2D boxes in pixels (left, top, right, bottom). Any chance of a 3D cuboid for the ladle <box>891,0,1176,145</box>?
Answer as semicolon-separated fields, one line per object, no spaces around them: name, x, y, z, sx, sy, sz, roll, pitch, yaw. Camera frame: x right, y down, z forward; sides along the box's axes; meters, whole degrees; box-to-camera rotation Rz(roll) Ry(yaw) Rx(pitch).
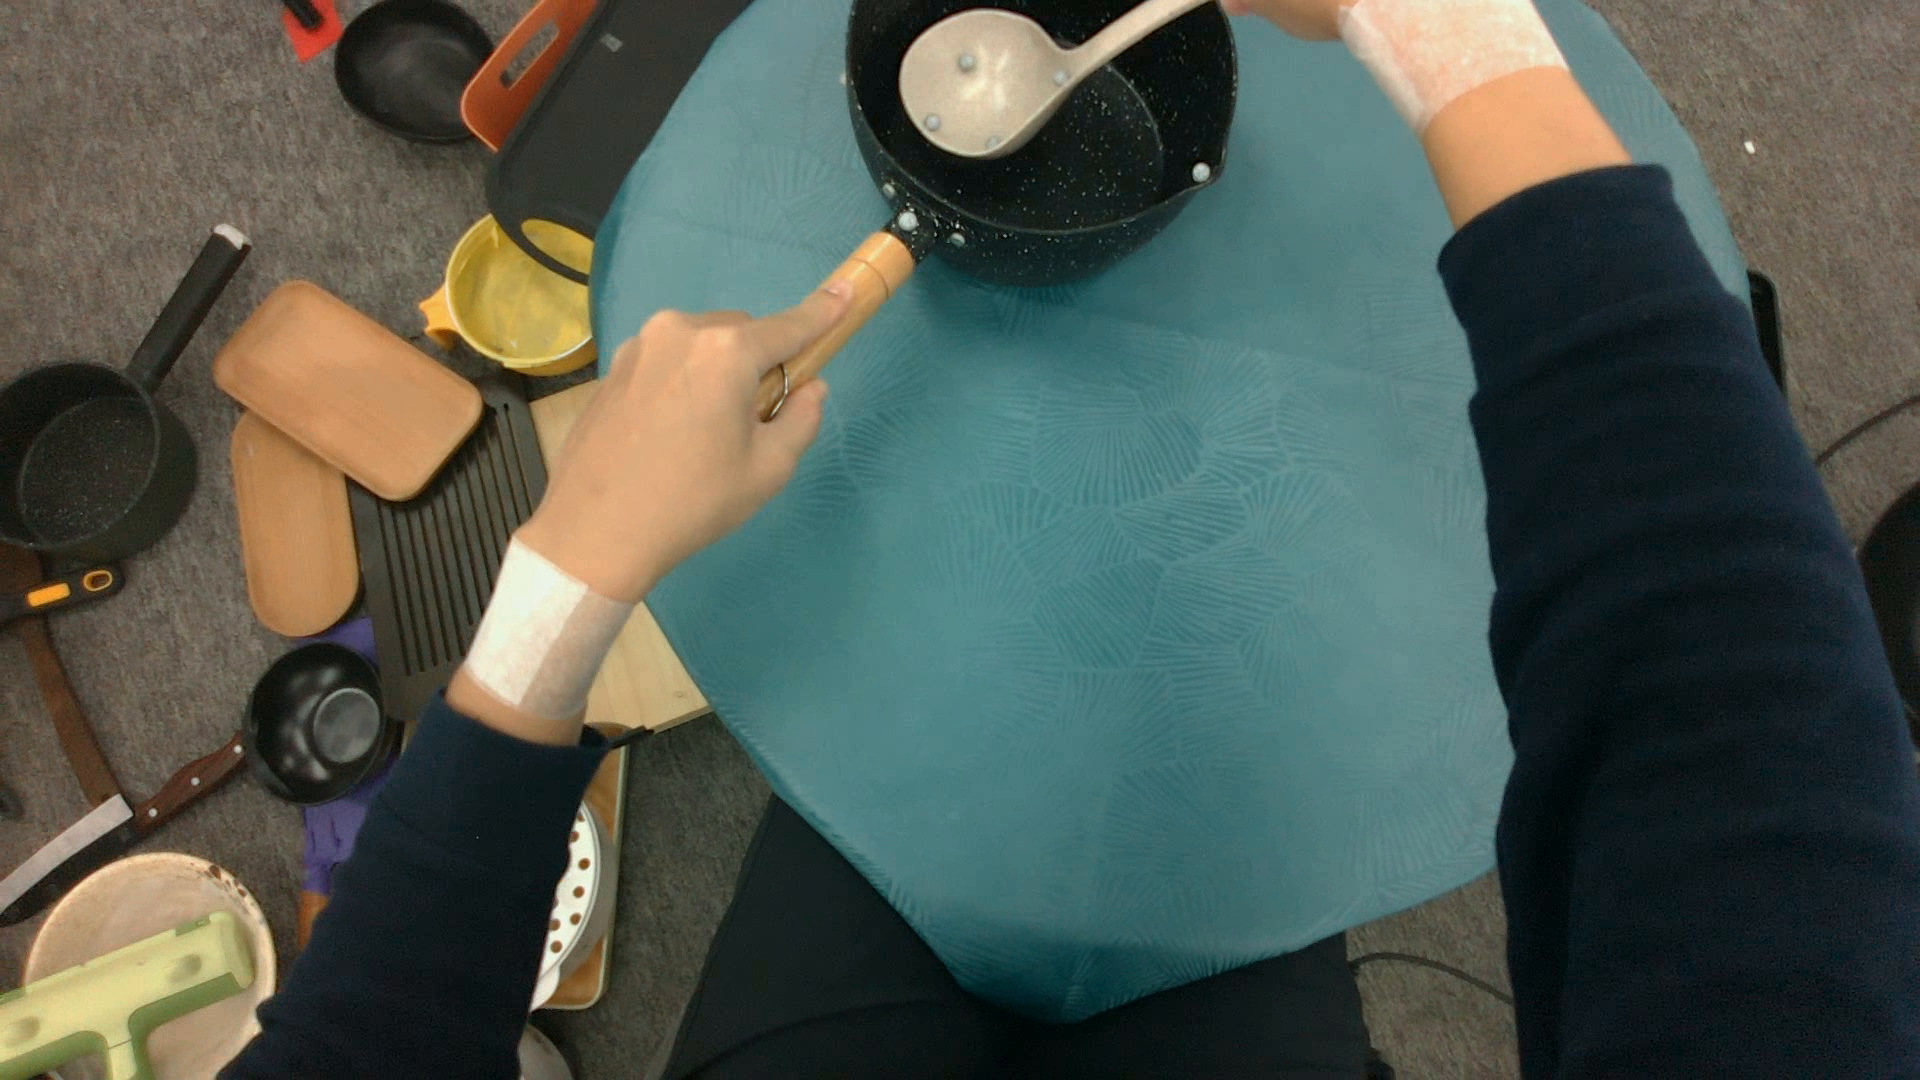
ladle;0.068;-0.250;0.610;0.069;0.274;0.089;34;66;-27

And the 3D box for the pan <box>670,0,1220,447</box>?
pan;-0.015;-0.160;0.648;0.207;0.108;0.344;34;72;5
